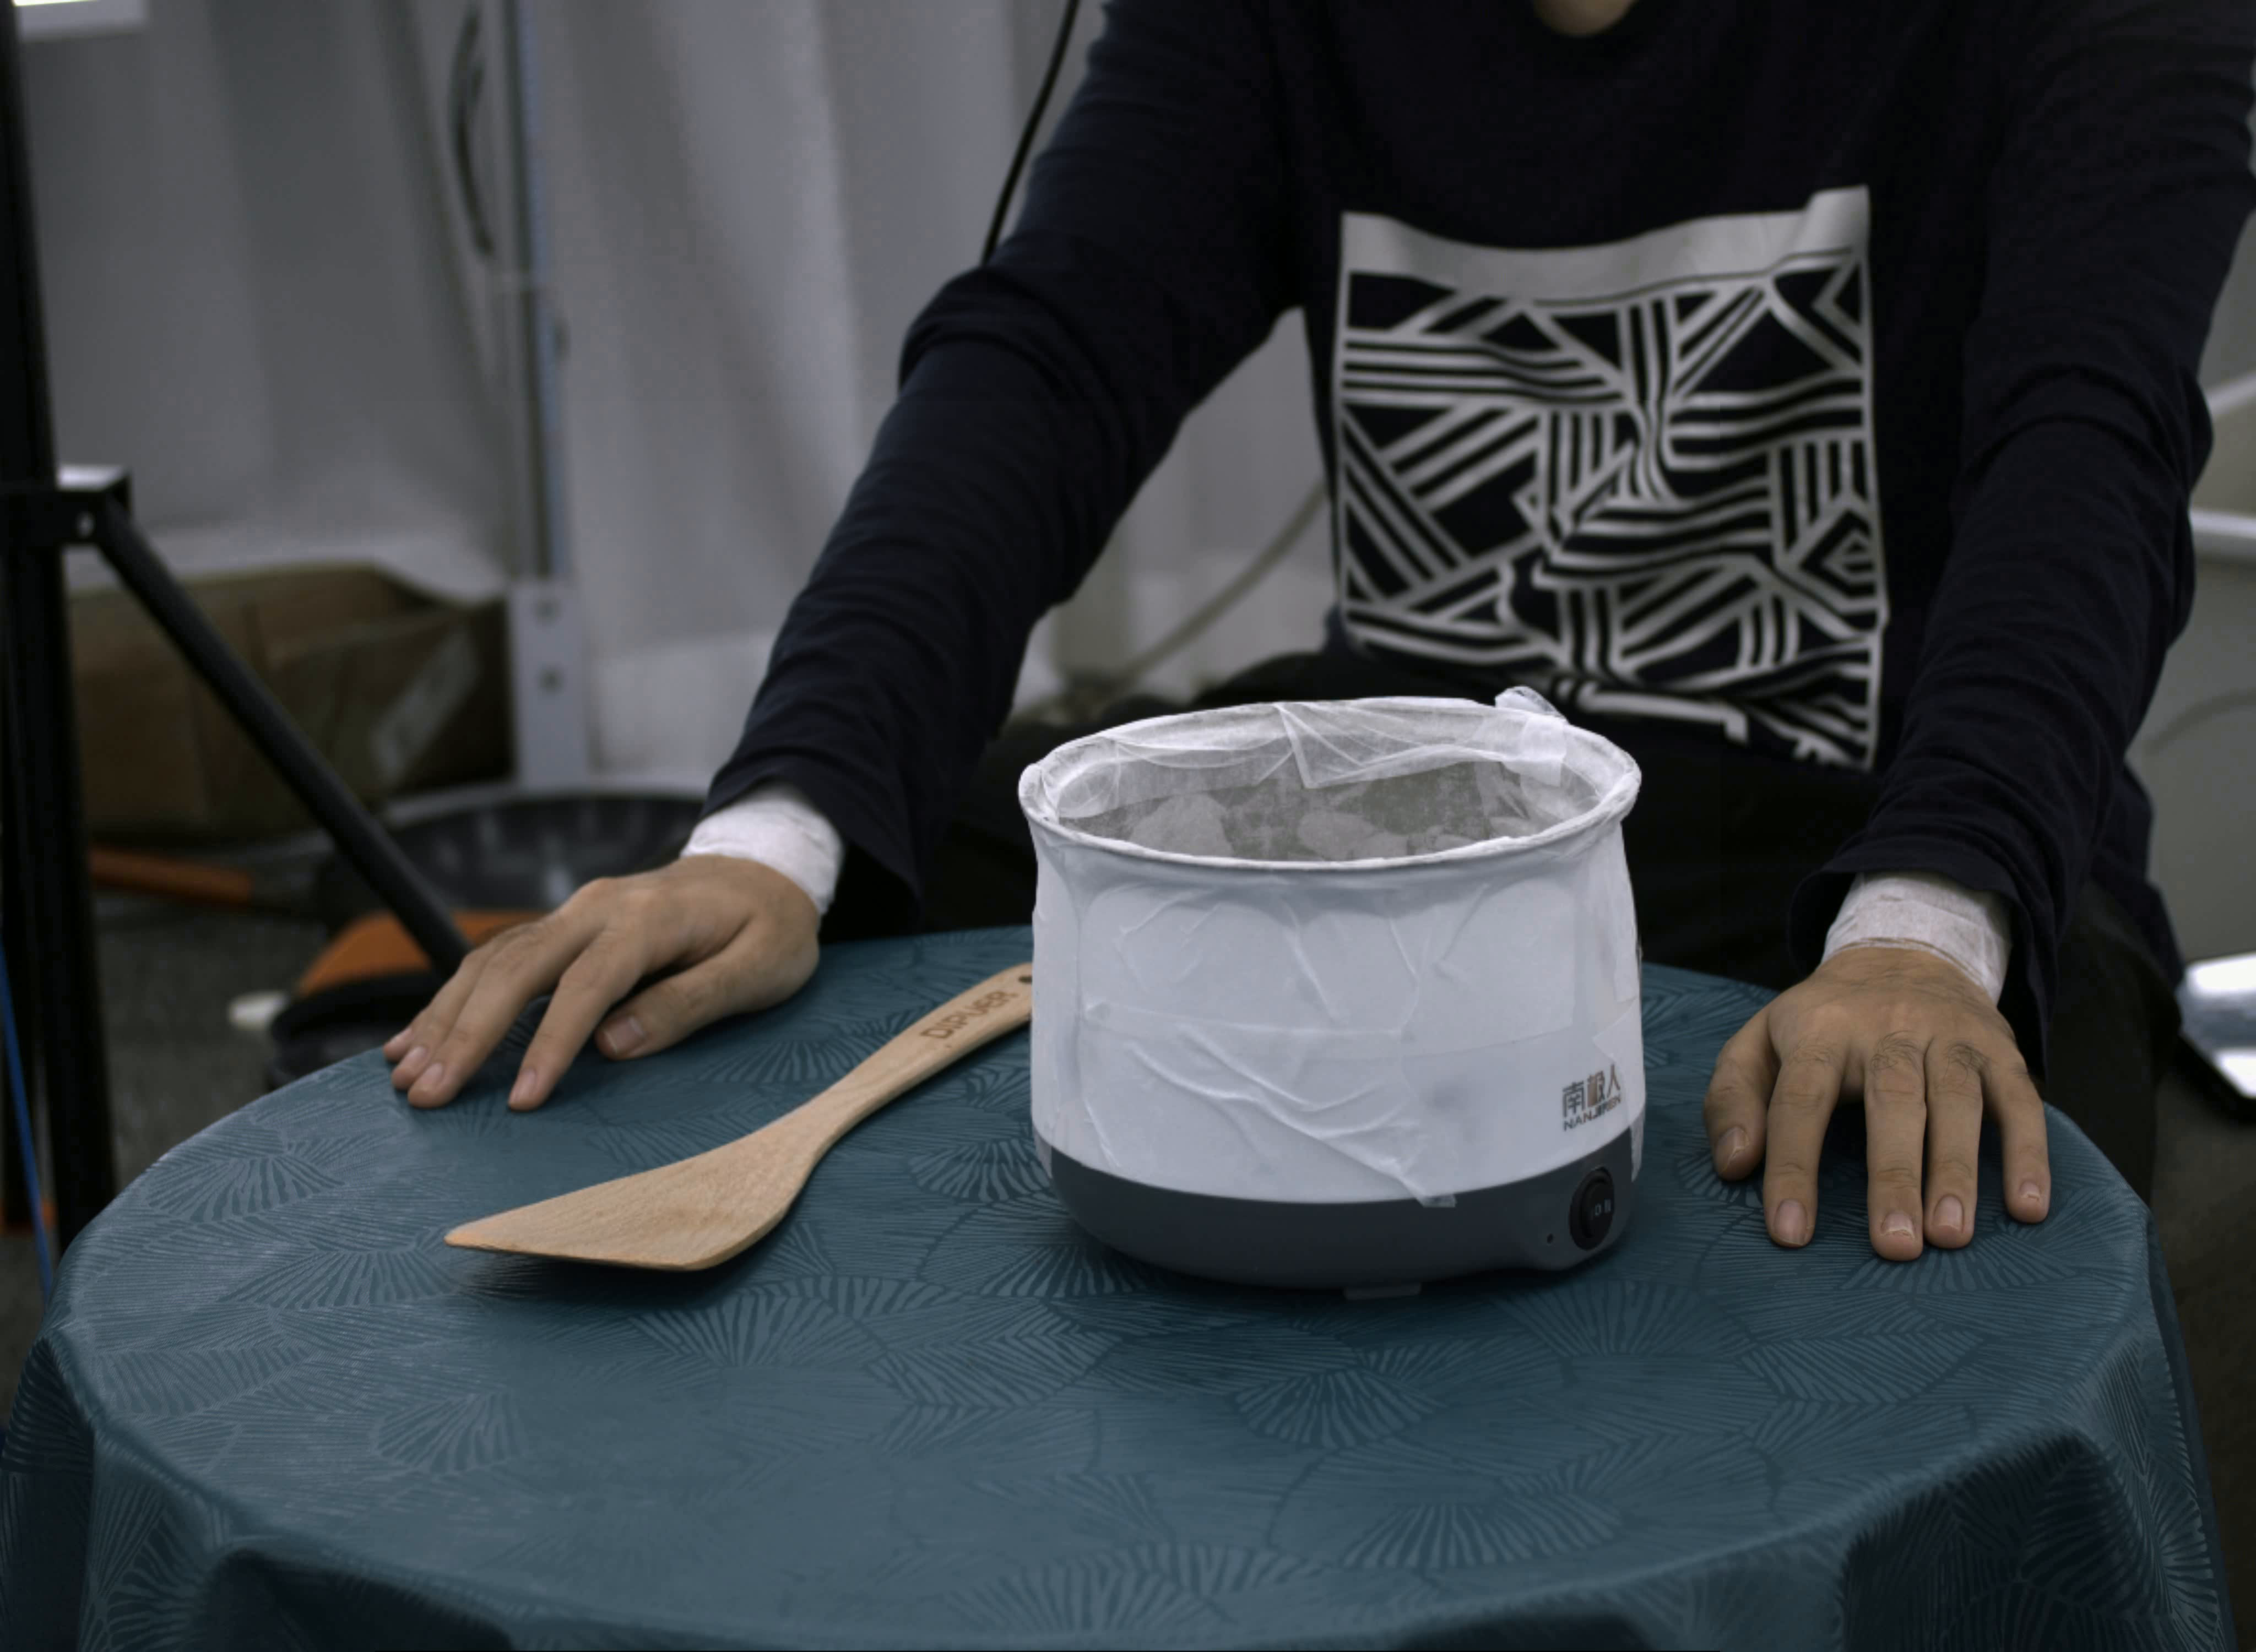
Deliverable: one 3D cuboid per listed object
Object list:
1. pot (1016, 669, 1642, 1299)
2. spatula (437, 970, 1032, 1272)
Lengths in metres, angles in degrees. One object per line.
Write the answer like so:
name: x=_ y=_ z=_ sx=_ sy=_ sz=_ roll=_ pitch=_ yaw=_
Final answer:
pot: x=0.074 y=0.038 z=1.536 sx=0.182 sy=0.136 sz=0.229 roll=10 pitch=21 yaw=35
spatula: x=-0.093 y=0.087 z=1.624 sx=0.081 sy=0.016 sz=0.322 roll=6 pitch=17 yaw=25
